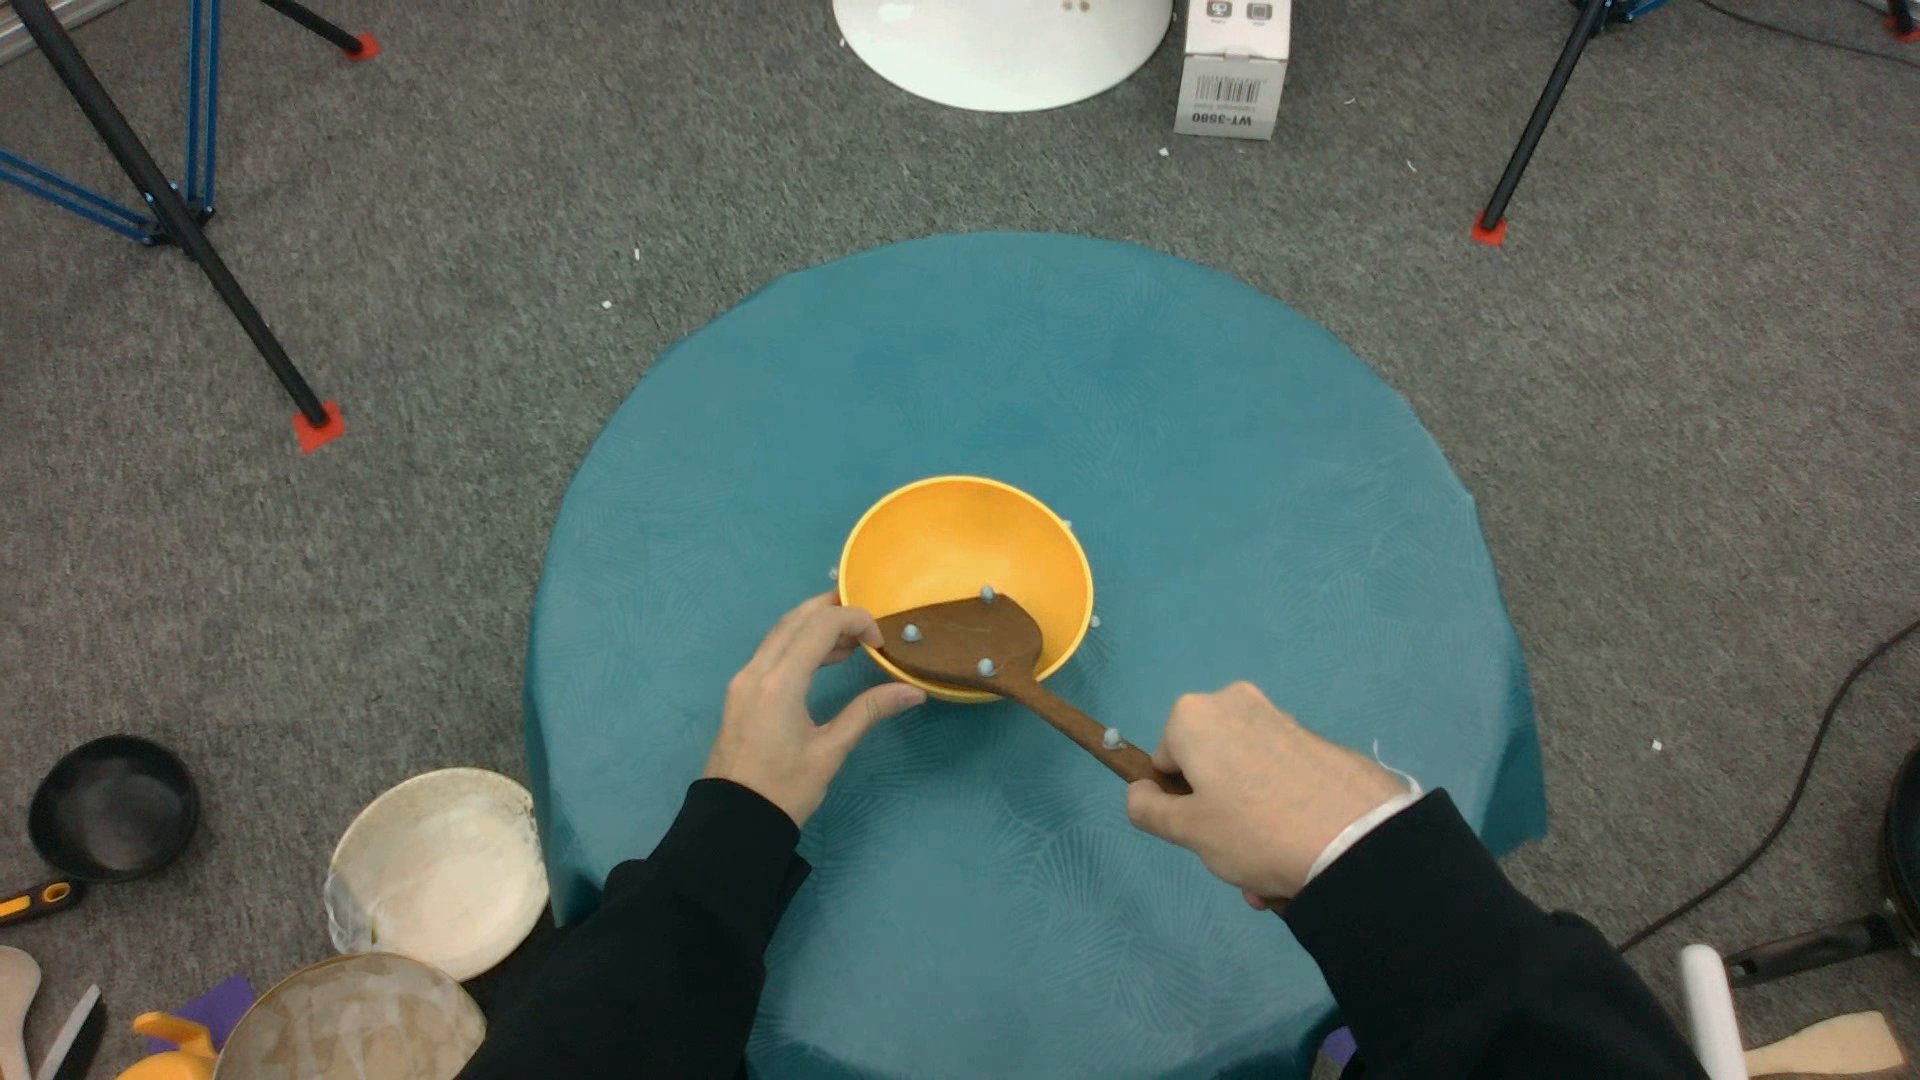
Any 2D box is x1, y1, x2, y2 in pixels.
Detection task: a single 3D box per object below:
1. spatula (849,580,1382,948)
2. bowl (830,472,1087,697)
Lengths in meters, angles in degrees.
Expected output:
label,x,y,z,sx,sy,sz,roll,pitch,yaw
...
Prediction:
label,x,y,z,sx,sy,sz,roll,pitch,yaw
spatula,0.058,0.086,0.645,0.096,0.016,0.386,-12,20,-24
bowl,-0.002,0.035,0.799,0.145,0.060,0.146,2,57,-2
